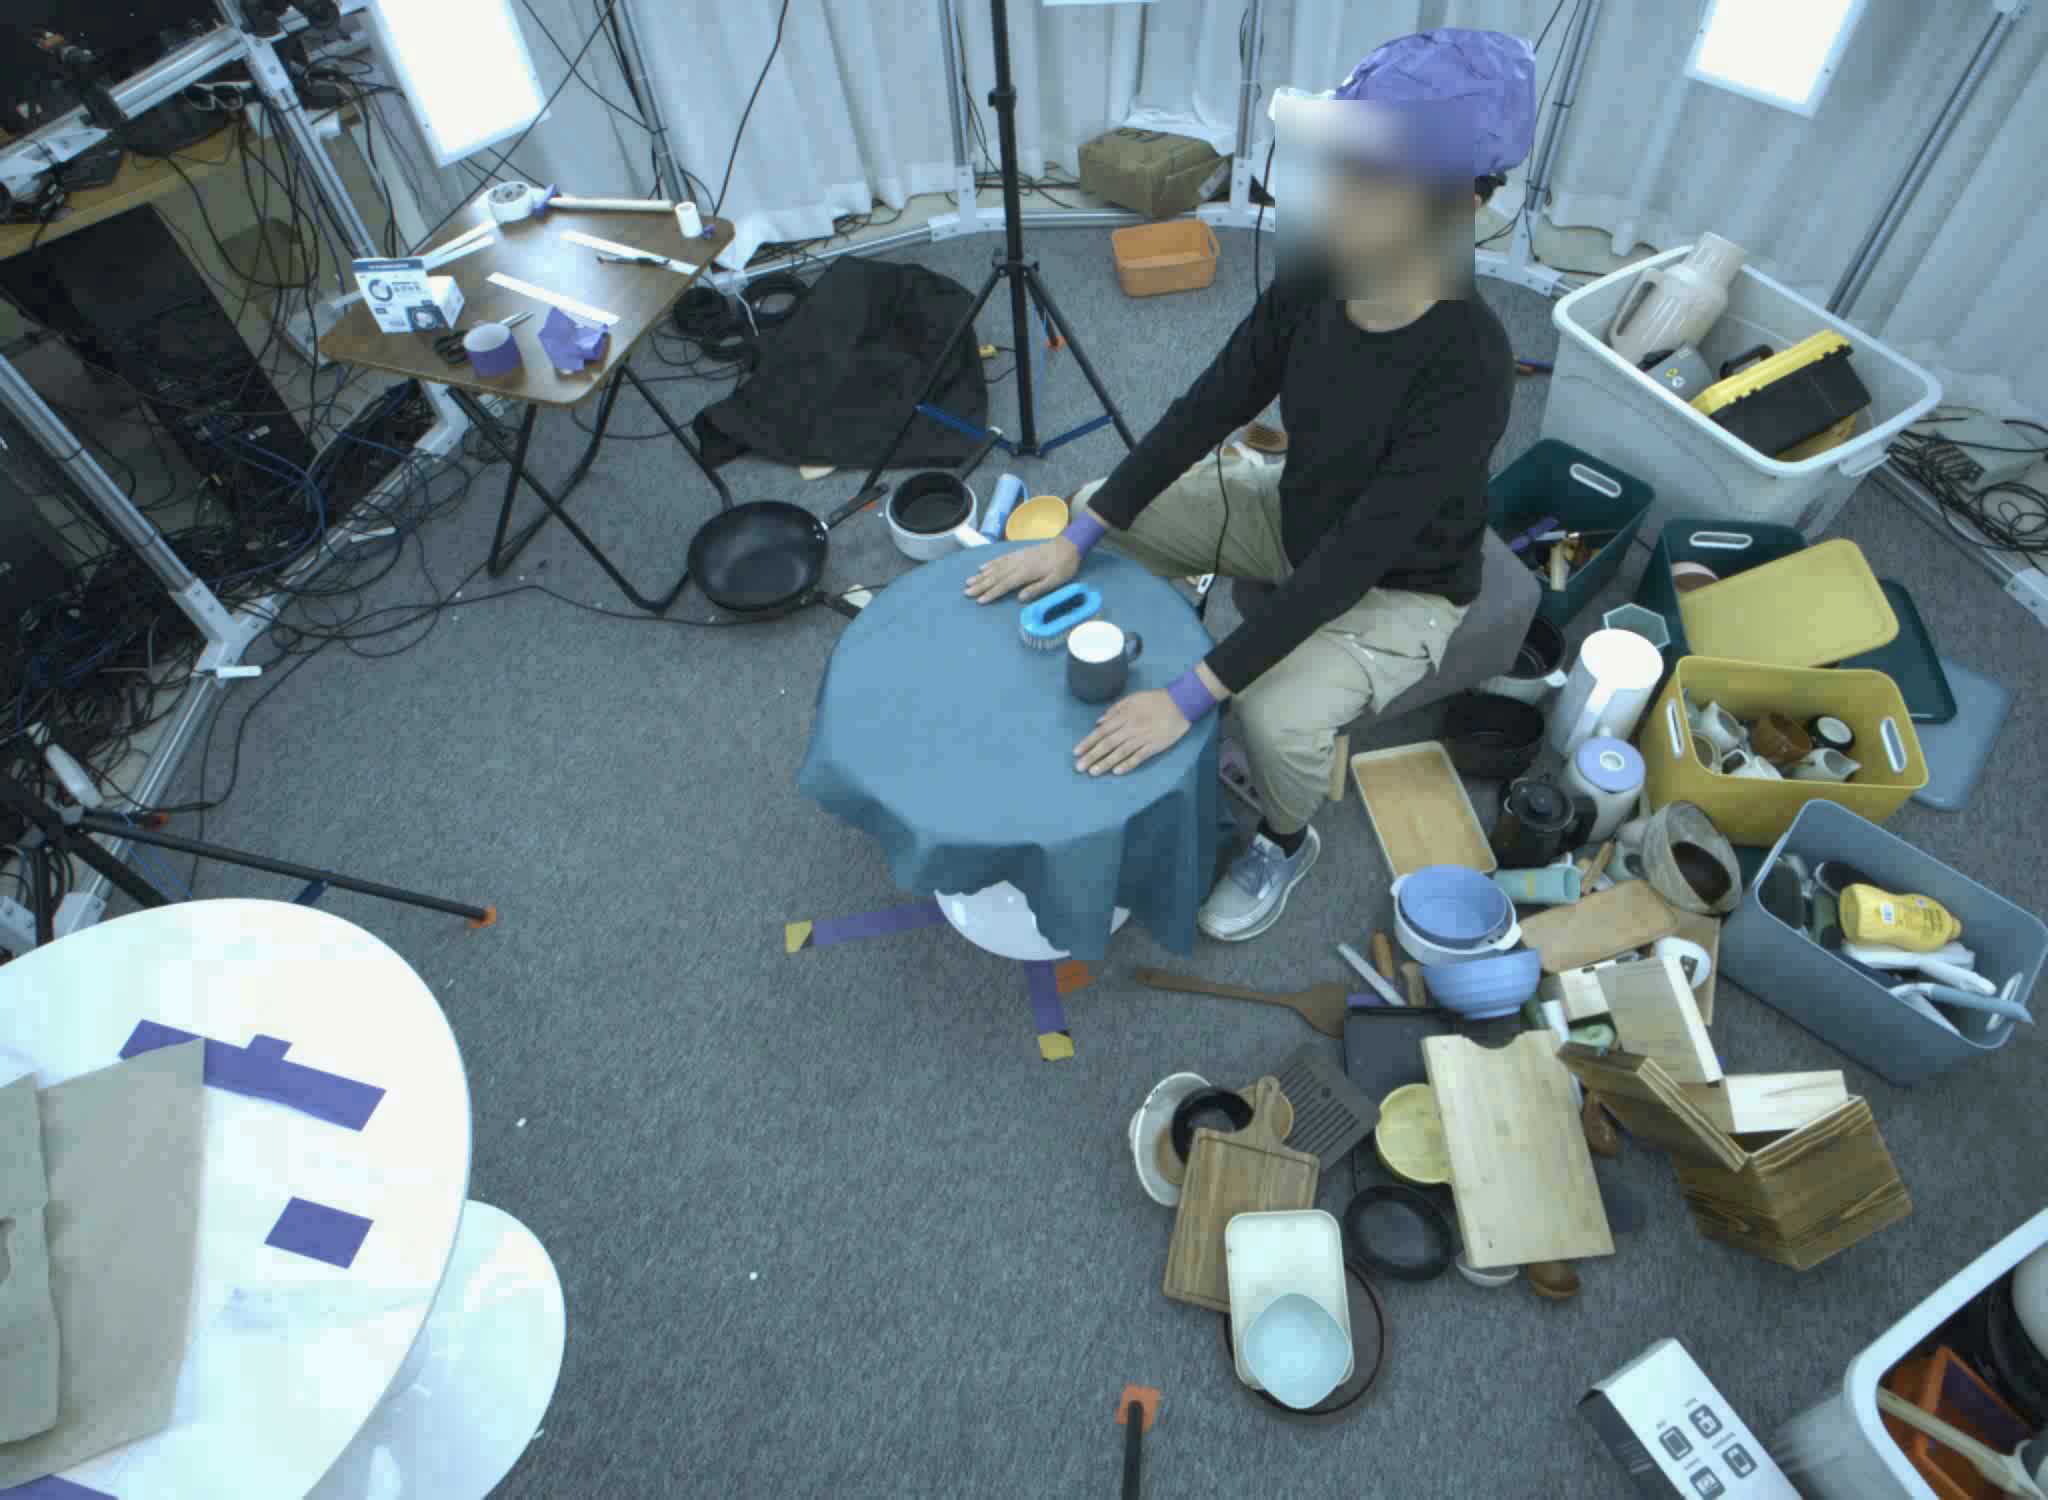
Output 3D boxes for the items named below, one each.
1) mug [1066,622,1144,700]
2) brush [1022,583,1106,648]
[{"bbox_3d":[0.121,-0.138,1.826,0.124,0.091,0.092,-23,57,-12],"label":"mug"},{"bbox_3d":[0.059,-0.219,1.903,0.143,0.064,0.082,-28,53,-18],"label":"brush"}]
